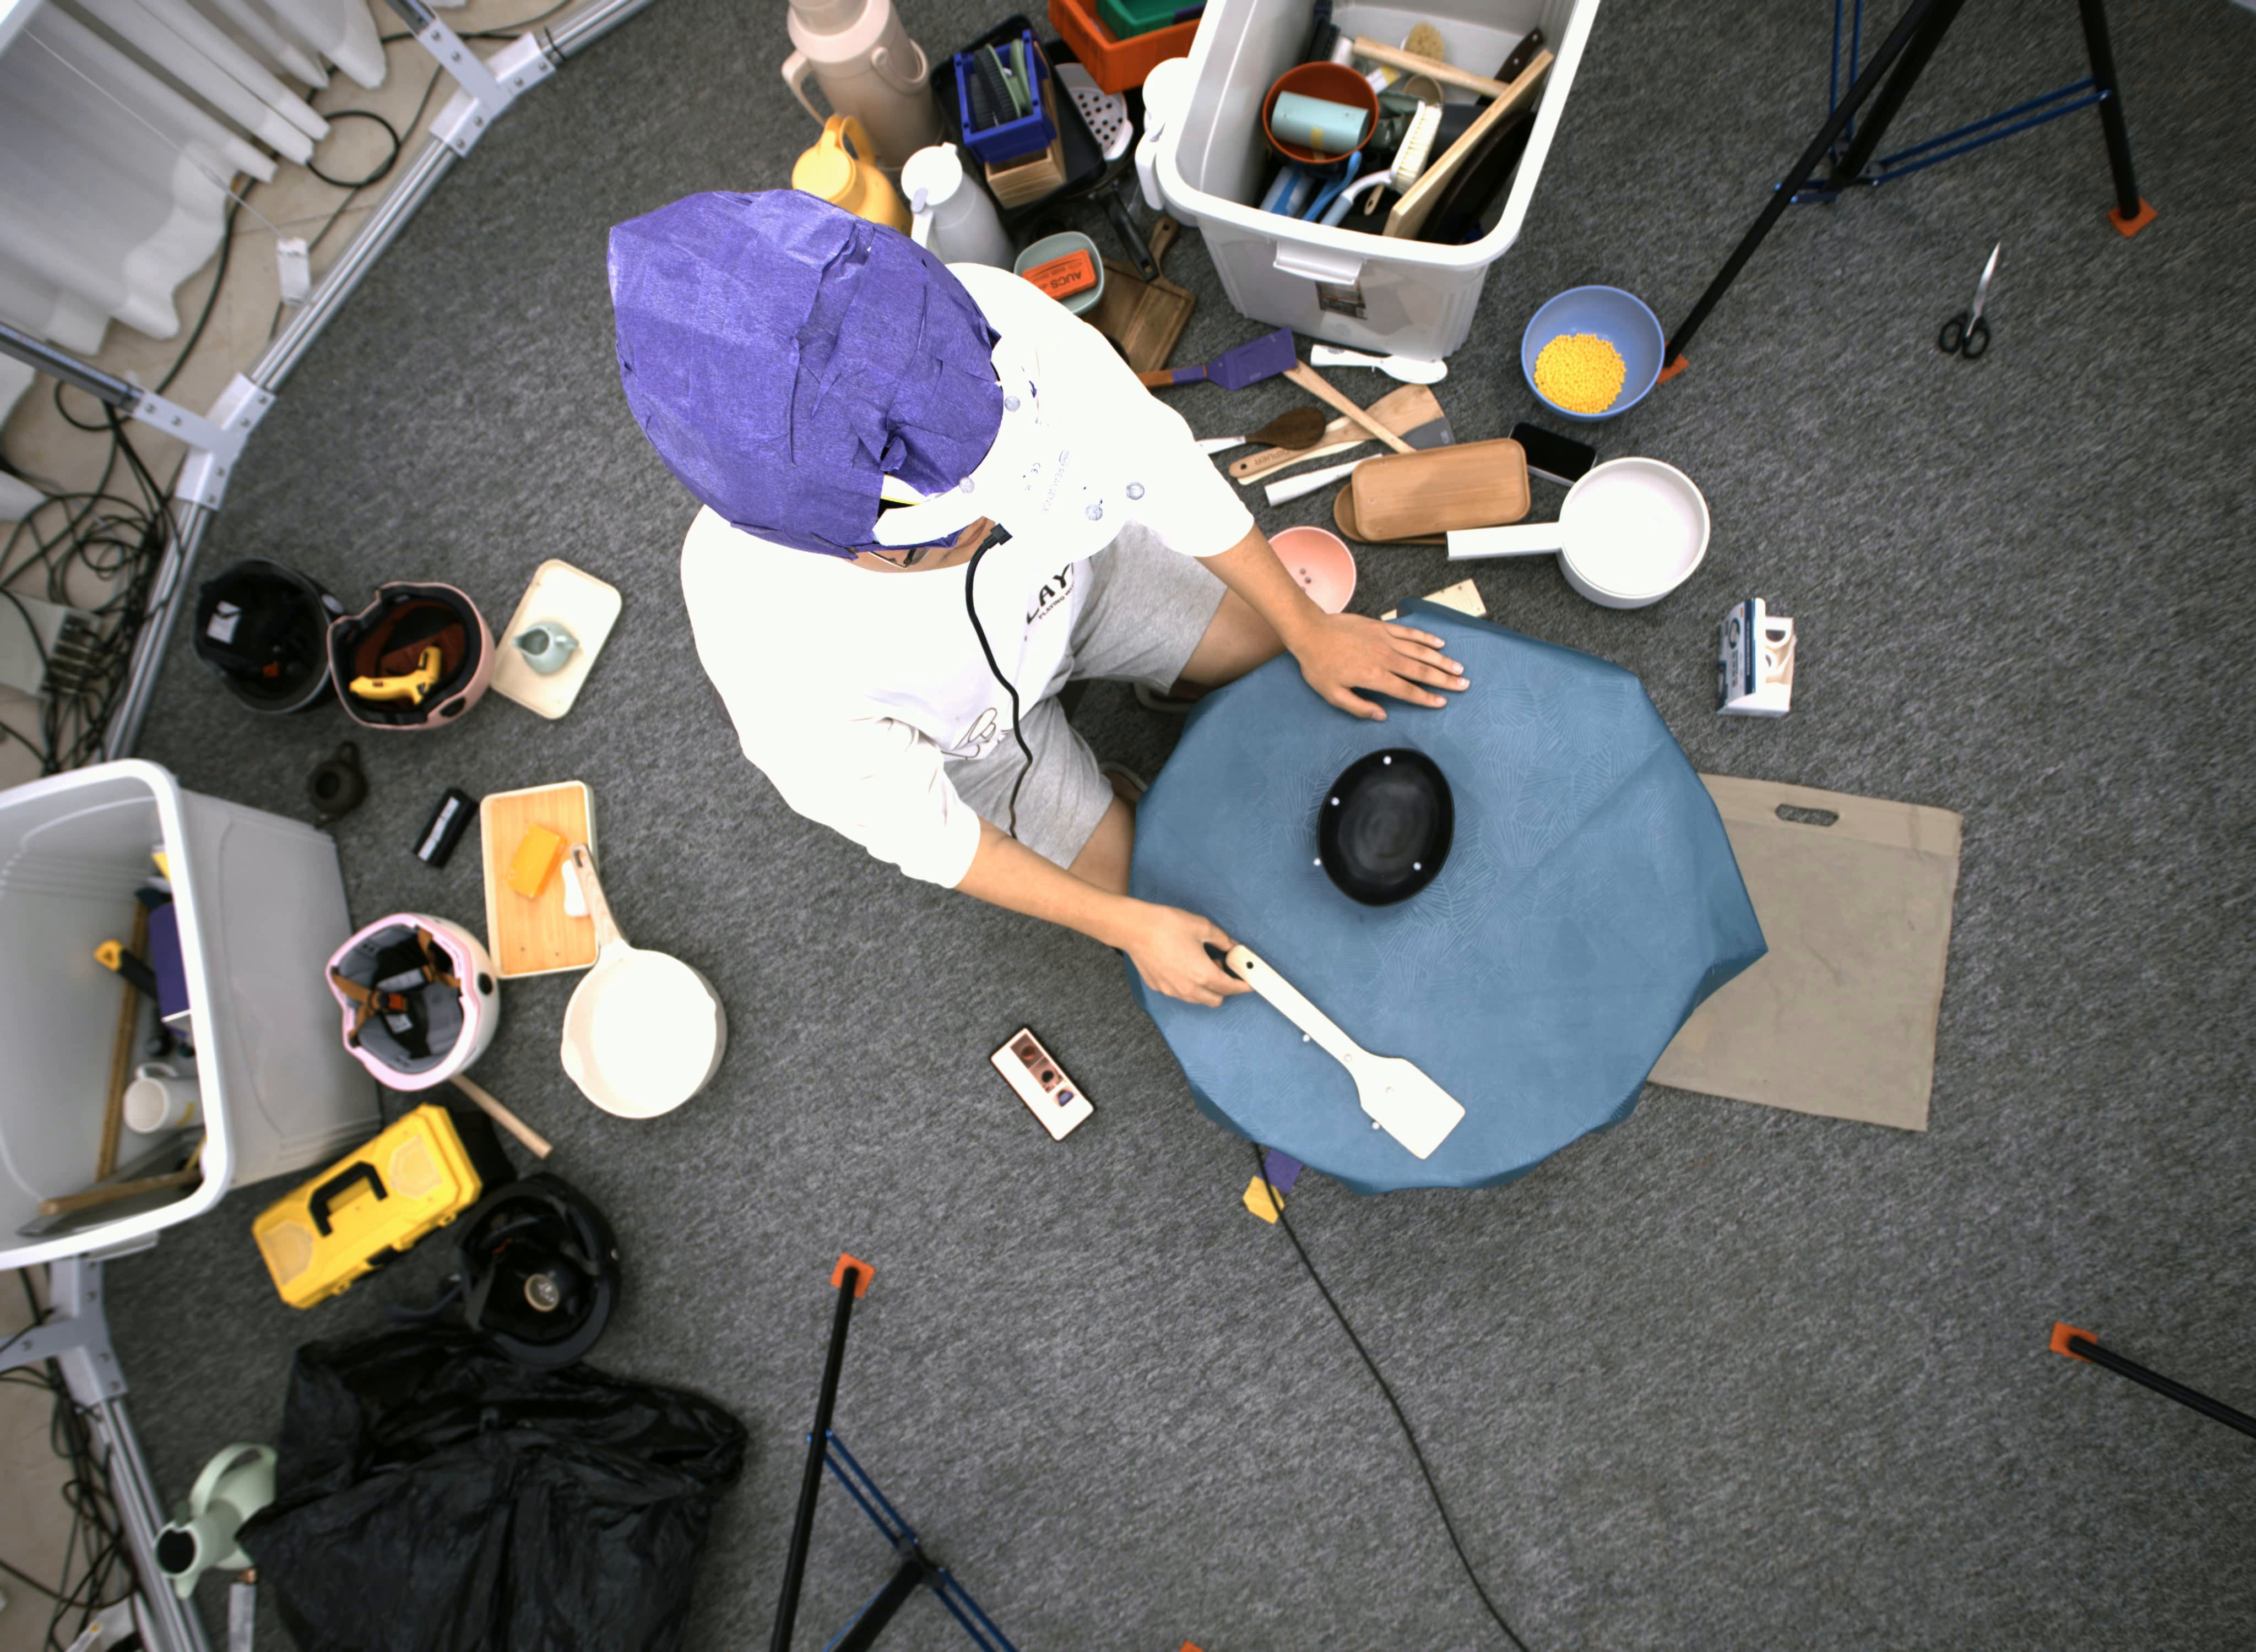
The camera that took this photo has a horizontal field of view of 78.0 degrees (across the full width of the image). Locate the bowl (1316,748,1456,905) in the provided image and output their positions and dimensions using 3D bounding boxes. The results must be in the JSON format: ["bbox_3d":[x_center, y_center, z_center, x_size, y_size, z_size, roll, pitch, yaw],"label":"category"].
[{"bbox_3d":[0.268,0.000,1.432,0.137,0.067,0.170,18,88,12],"label":"bowl"}]

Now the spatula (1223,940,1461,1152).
[{"bbox_3d":[0.215,0.221,1.450,0.292,0.010,0.072,40,95,6],"label":"spatula"}]
